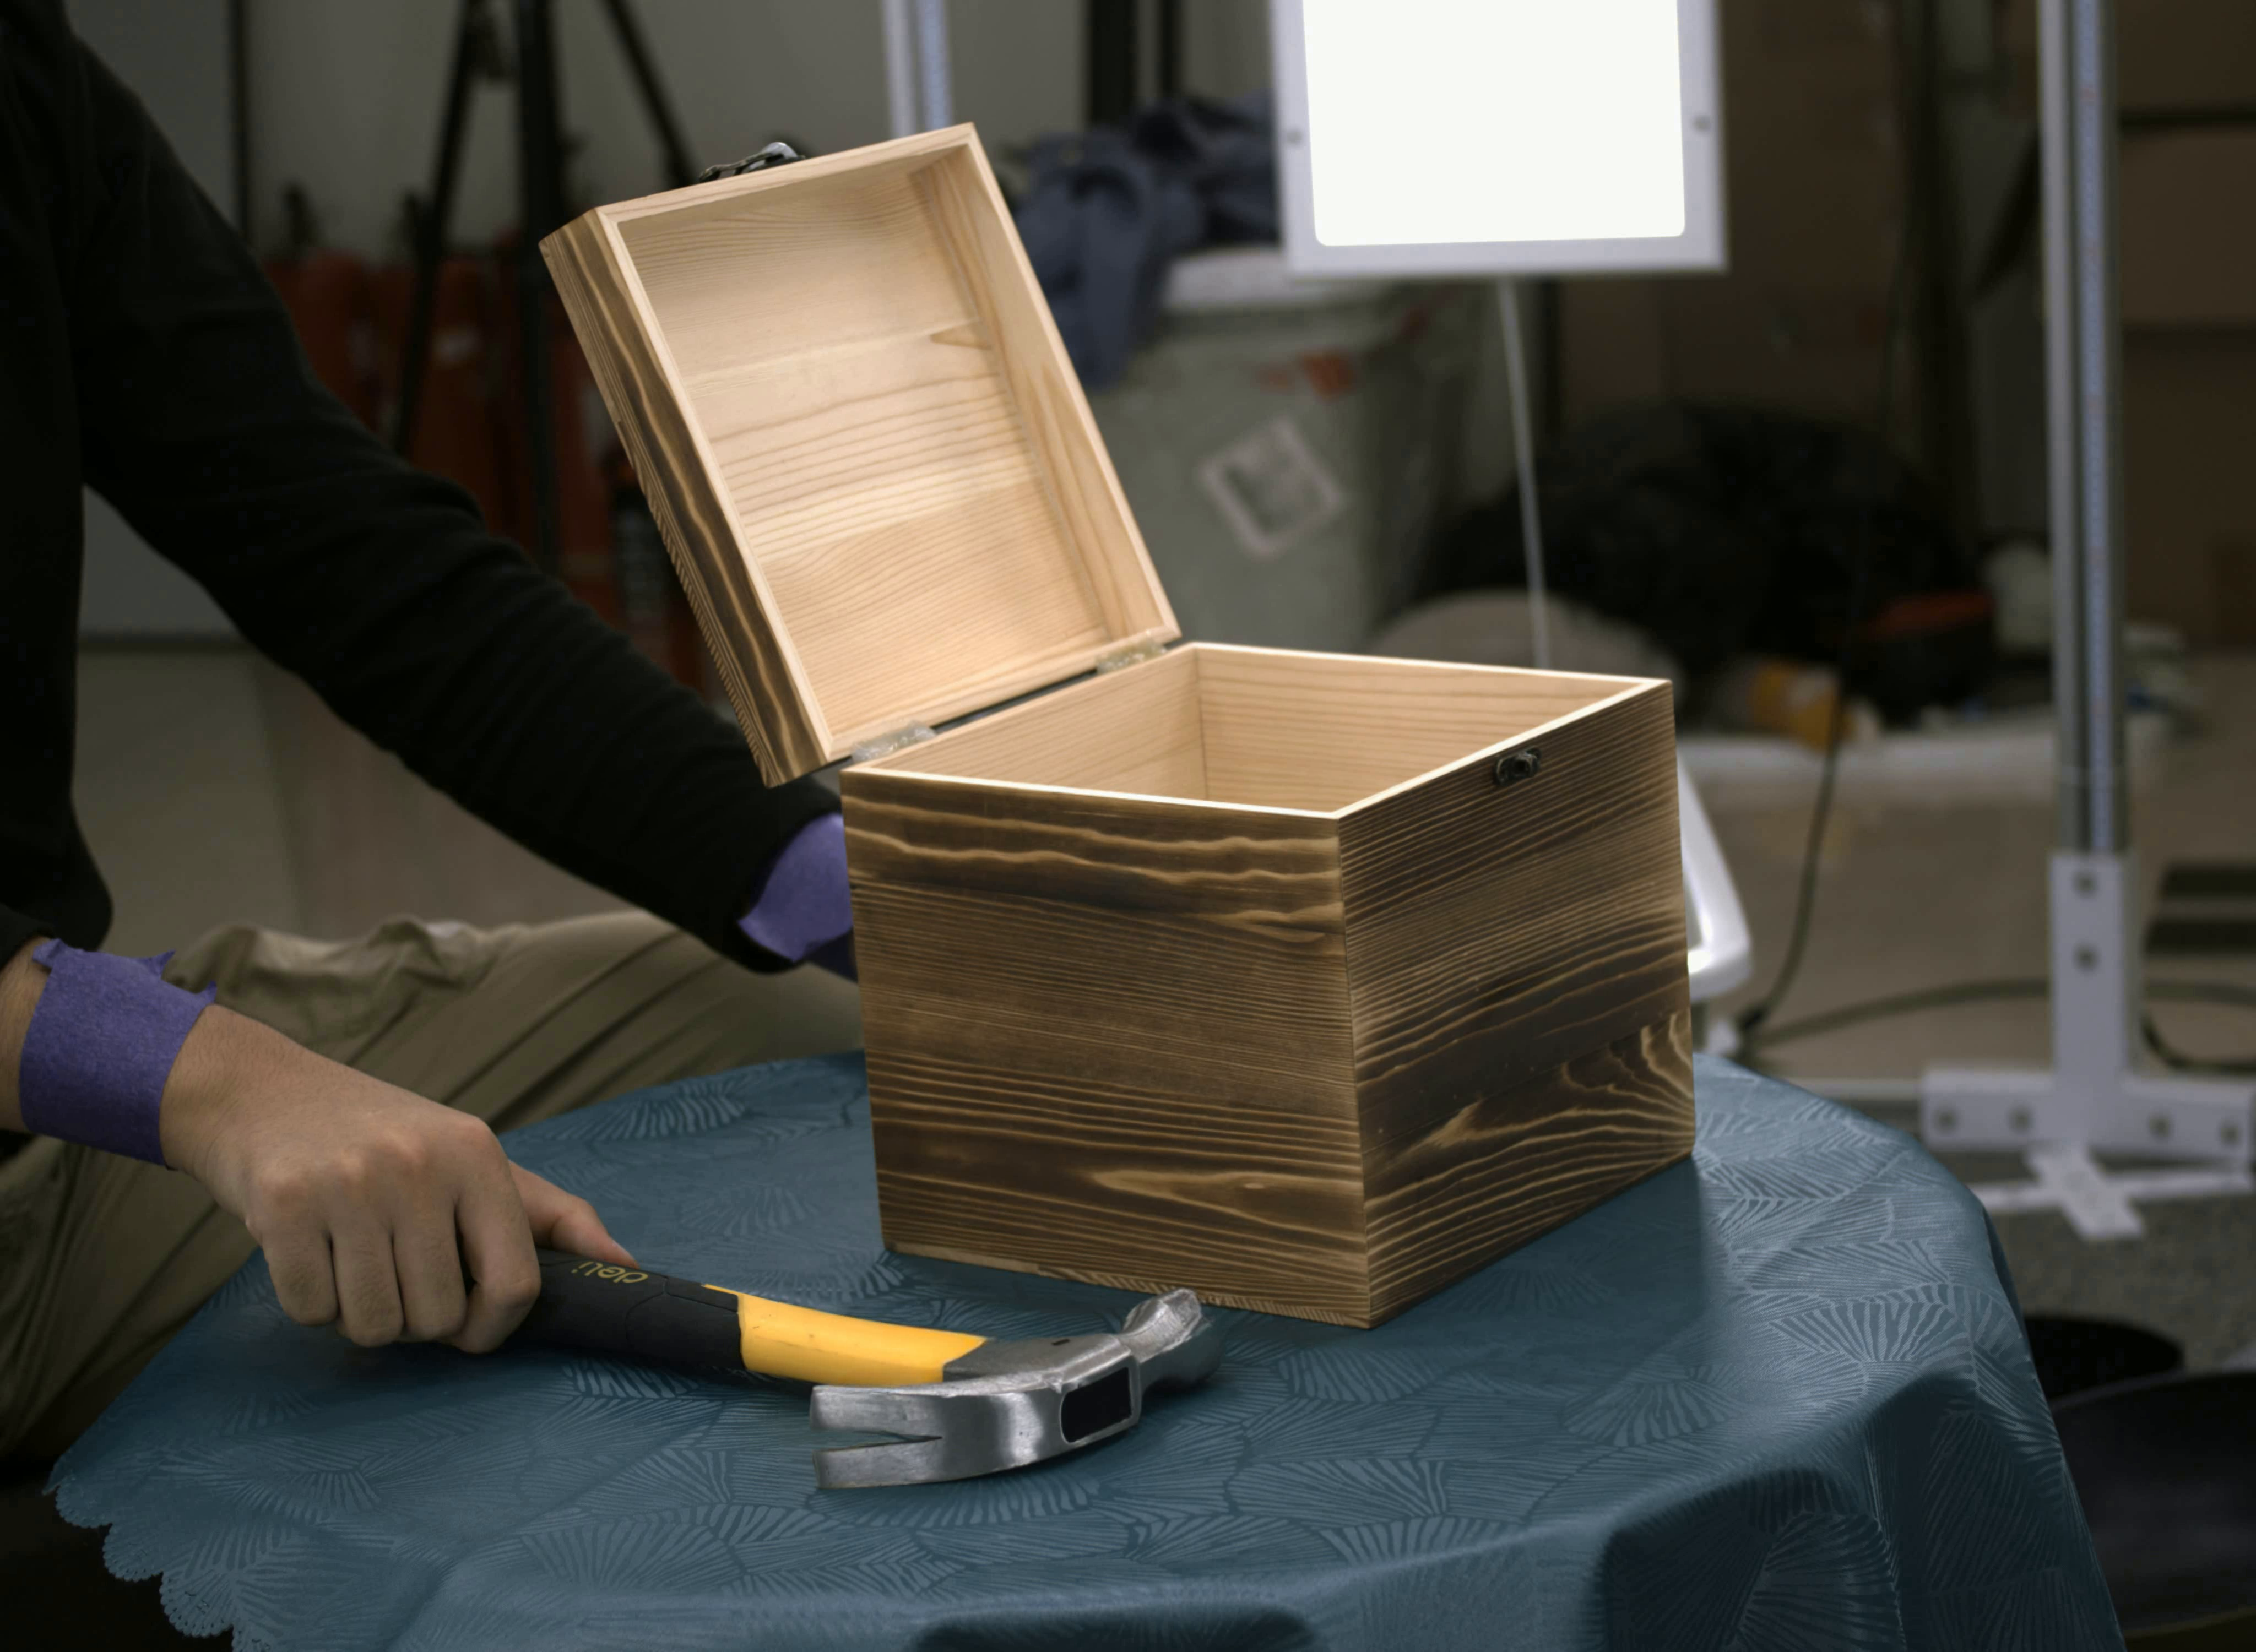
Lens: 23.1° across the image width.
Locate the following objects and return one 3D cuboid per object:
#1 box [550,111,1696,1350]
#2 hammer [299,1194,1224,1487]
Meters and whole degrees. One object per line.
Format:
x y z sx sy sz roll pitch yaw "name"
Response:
0.000 -0.048 1.860 0.329 0.377 0.203 5 17 38 "box"
-0.139 0.155 1.759 0.346 0.032 0.128 8 18 40 "hammer"
